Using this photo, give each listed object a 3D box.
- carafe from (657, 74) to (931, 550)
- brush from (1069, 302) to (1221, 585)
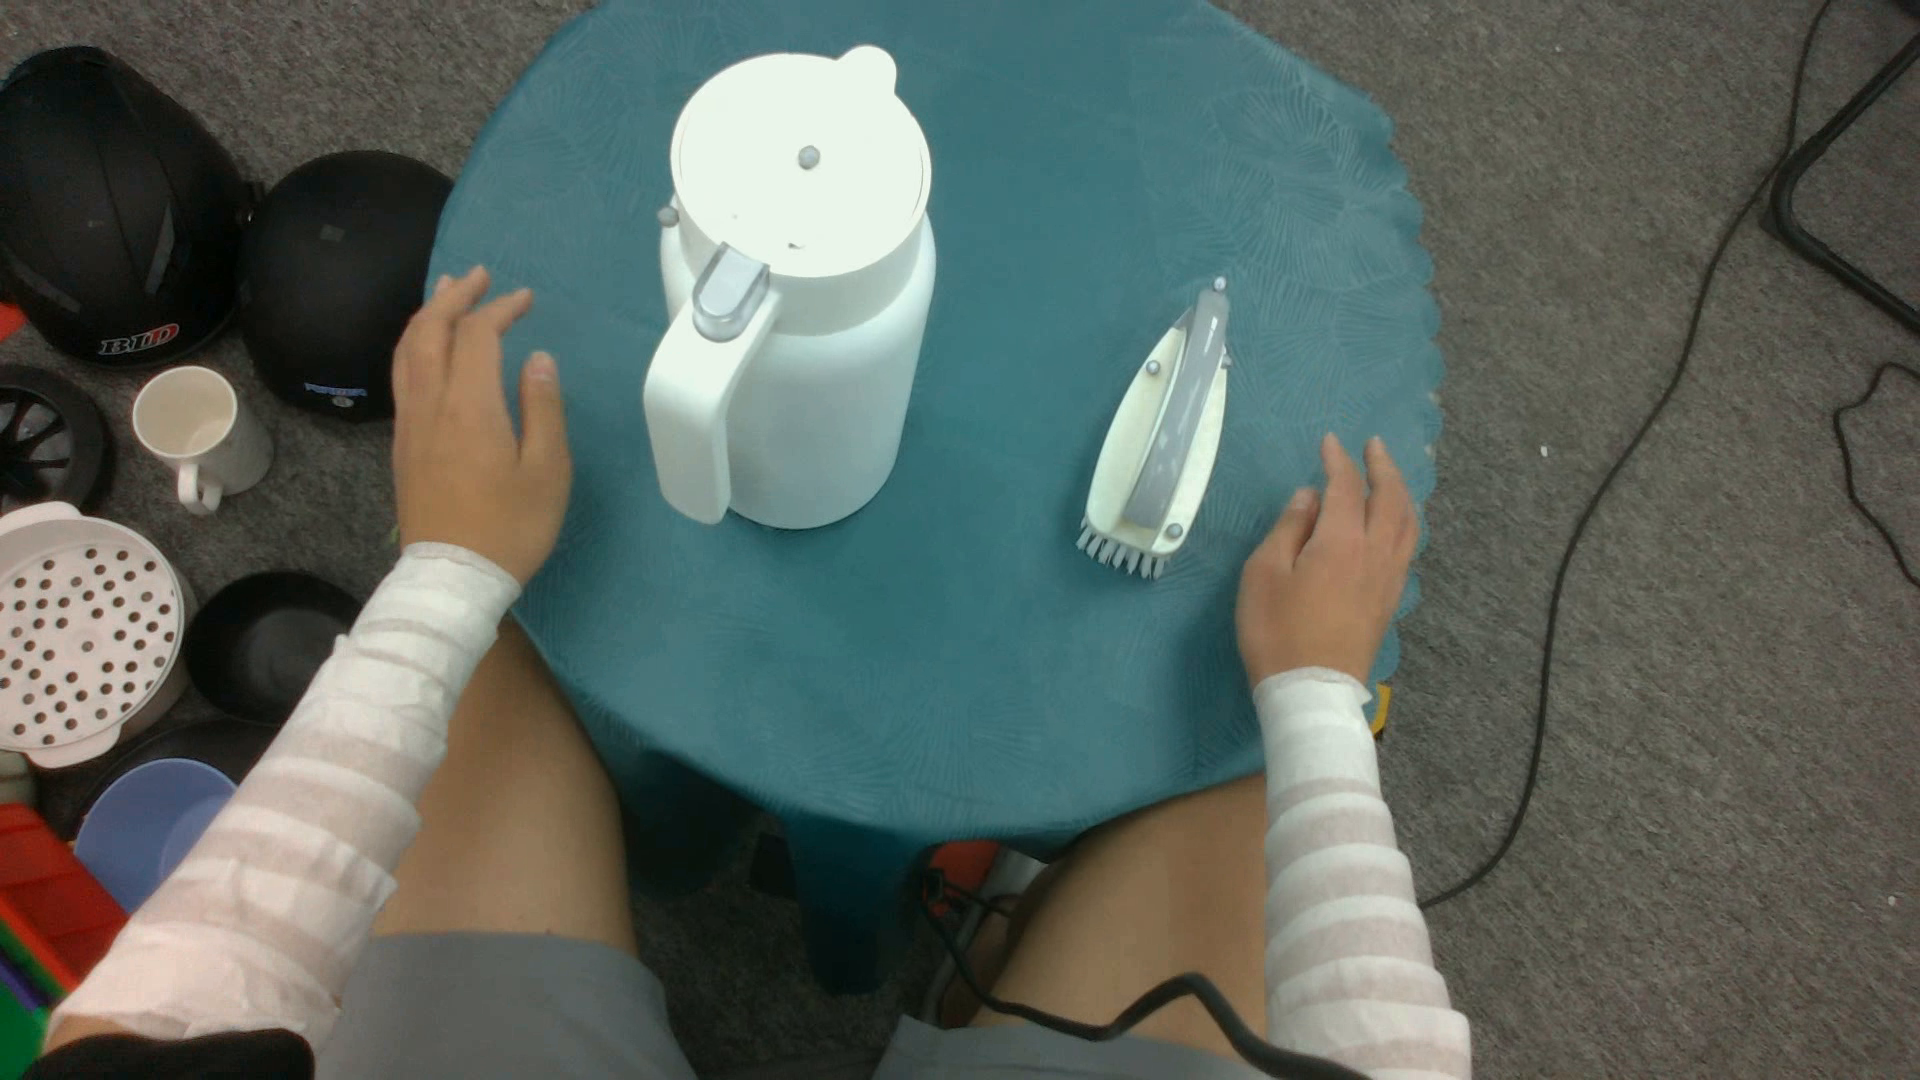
[{"bbox_3d":[-0.084,-0.075,0.658,0.124,0.268,0.173,24,69,-1],"label":"carafe"},{"bbox_3d":[0.117,-0.069,0.776,0.061,0.094,0.176,21,67,-2],"label":"brush"}]
